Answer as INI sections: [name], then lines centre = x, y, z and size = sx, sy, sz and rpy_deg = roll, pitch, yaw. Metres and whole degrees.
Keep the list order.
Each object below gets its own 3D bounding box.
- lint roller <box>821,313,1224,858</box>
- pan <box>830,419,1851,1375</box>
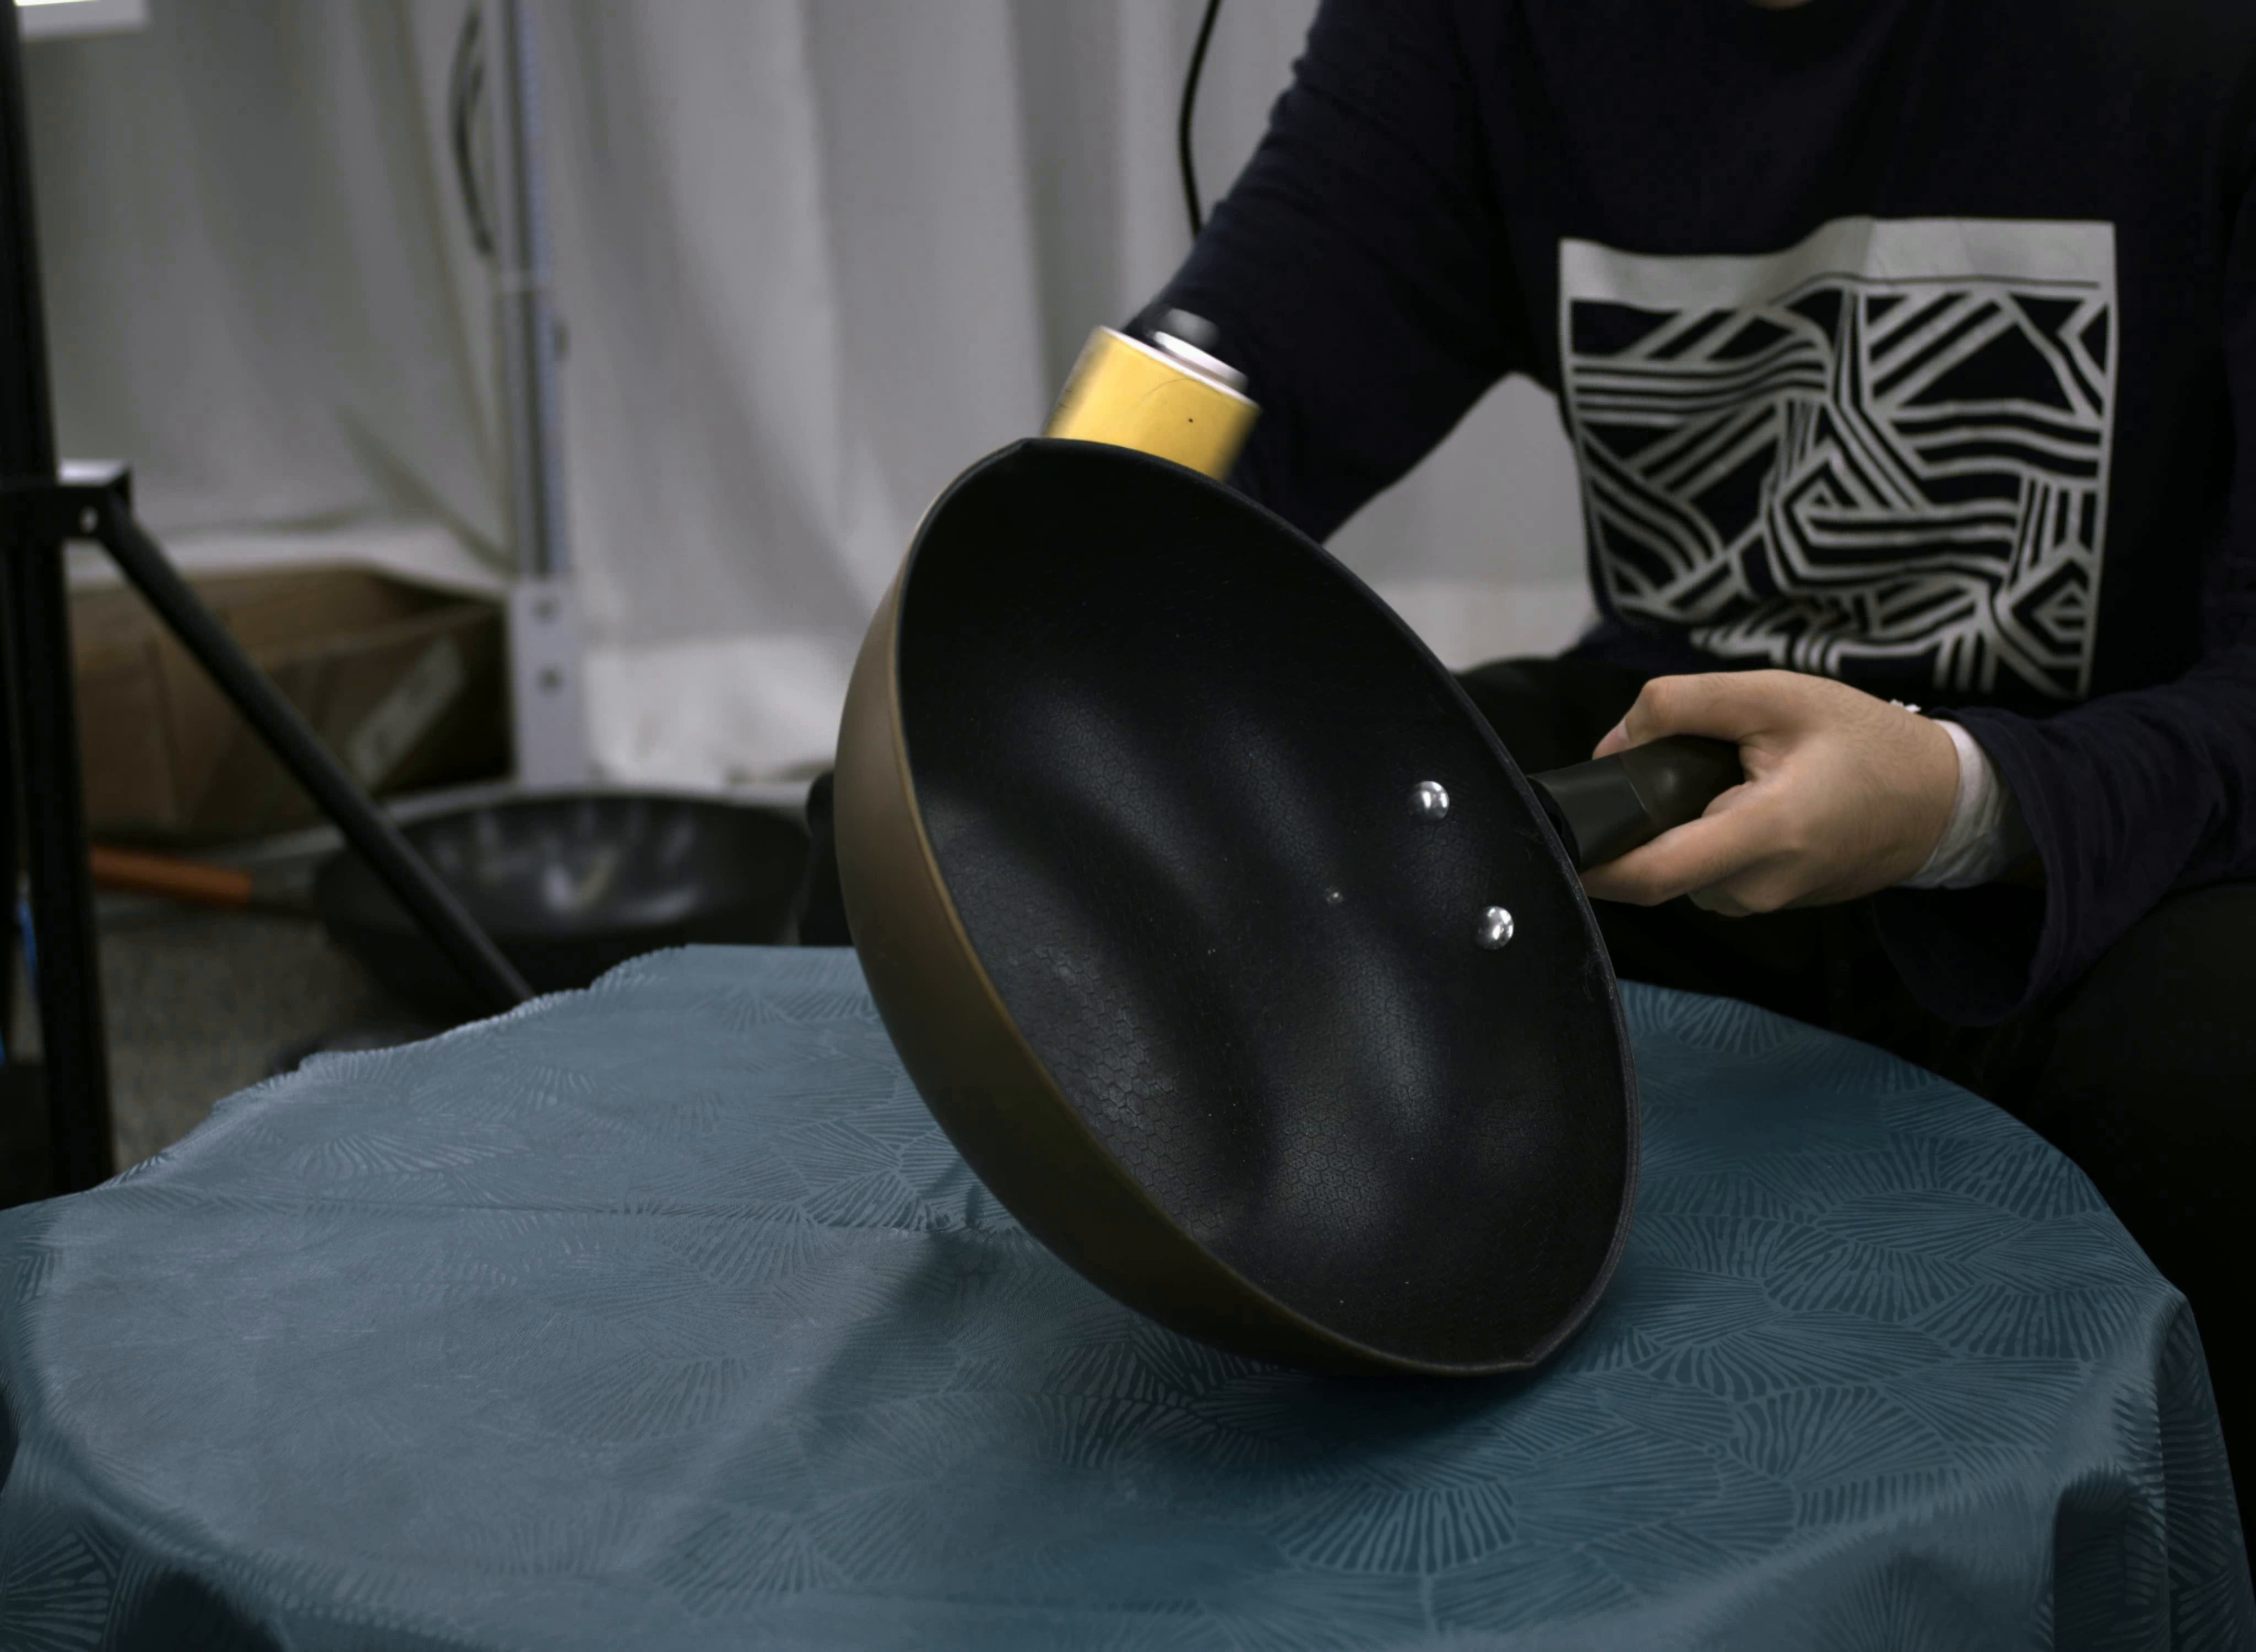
[lint roller]
centre = -0.019, -0.064, 1.597
size = 0.051, 0.175, 0.190
rpy_deg = 29, 5, 7
[pan]
centre = 0.066, 0.020, 1.516
size = 0.088, 0.291, 0.453
rpy_deg = -35, -13, 34
